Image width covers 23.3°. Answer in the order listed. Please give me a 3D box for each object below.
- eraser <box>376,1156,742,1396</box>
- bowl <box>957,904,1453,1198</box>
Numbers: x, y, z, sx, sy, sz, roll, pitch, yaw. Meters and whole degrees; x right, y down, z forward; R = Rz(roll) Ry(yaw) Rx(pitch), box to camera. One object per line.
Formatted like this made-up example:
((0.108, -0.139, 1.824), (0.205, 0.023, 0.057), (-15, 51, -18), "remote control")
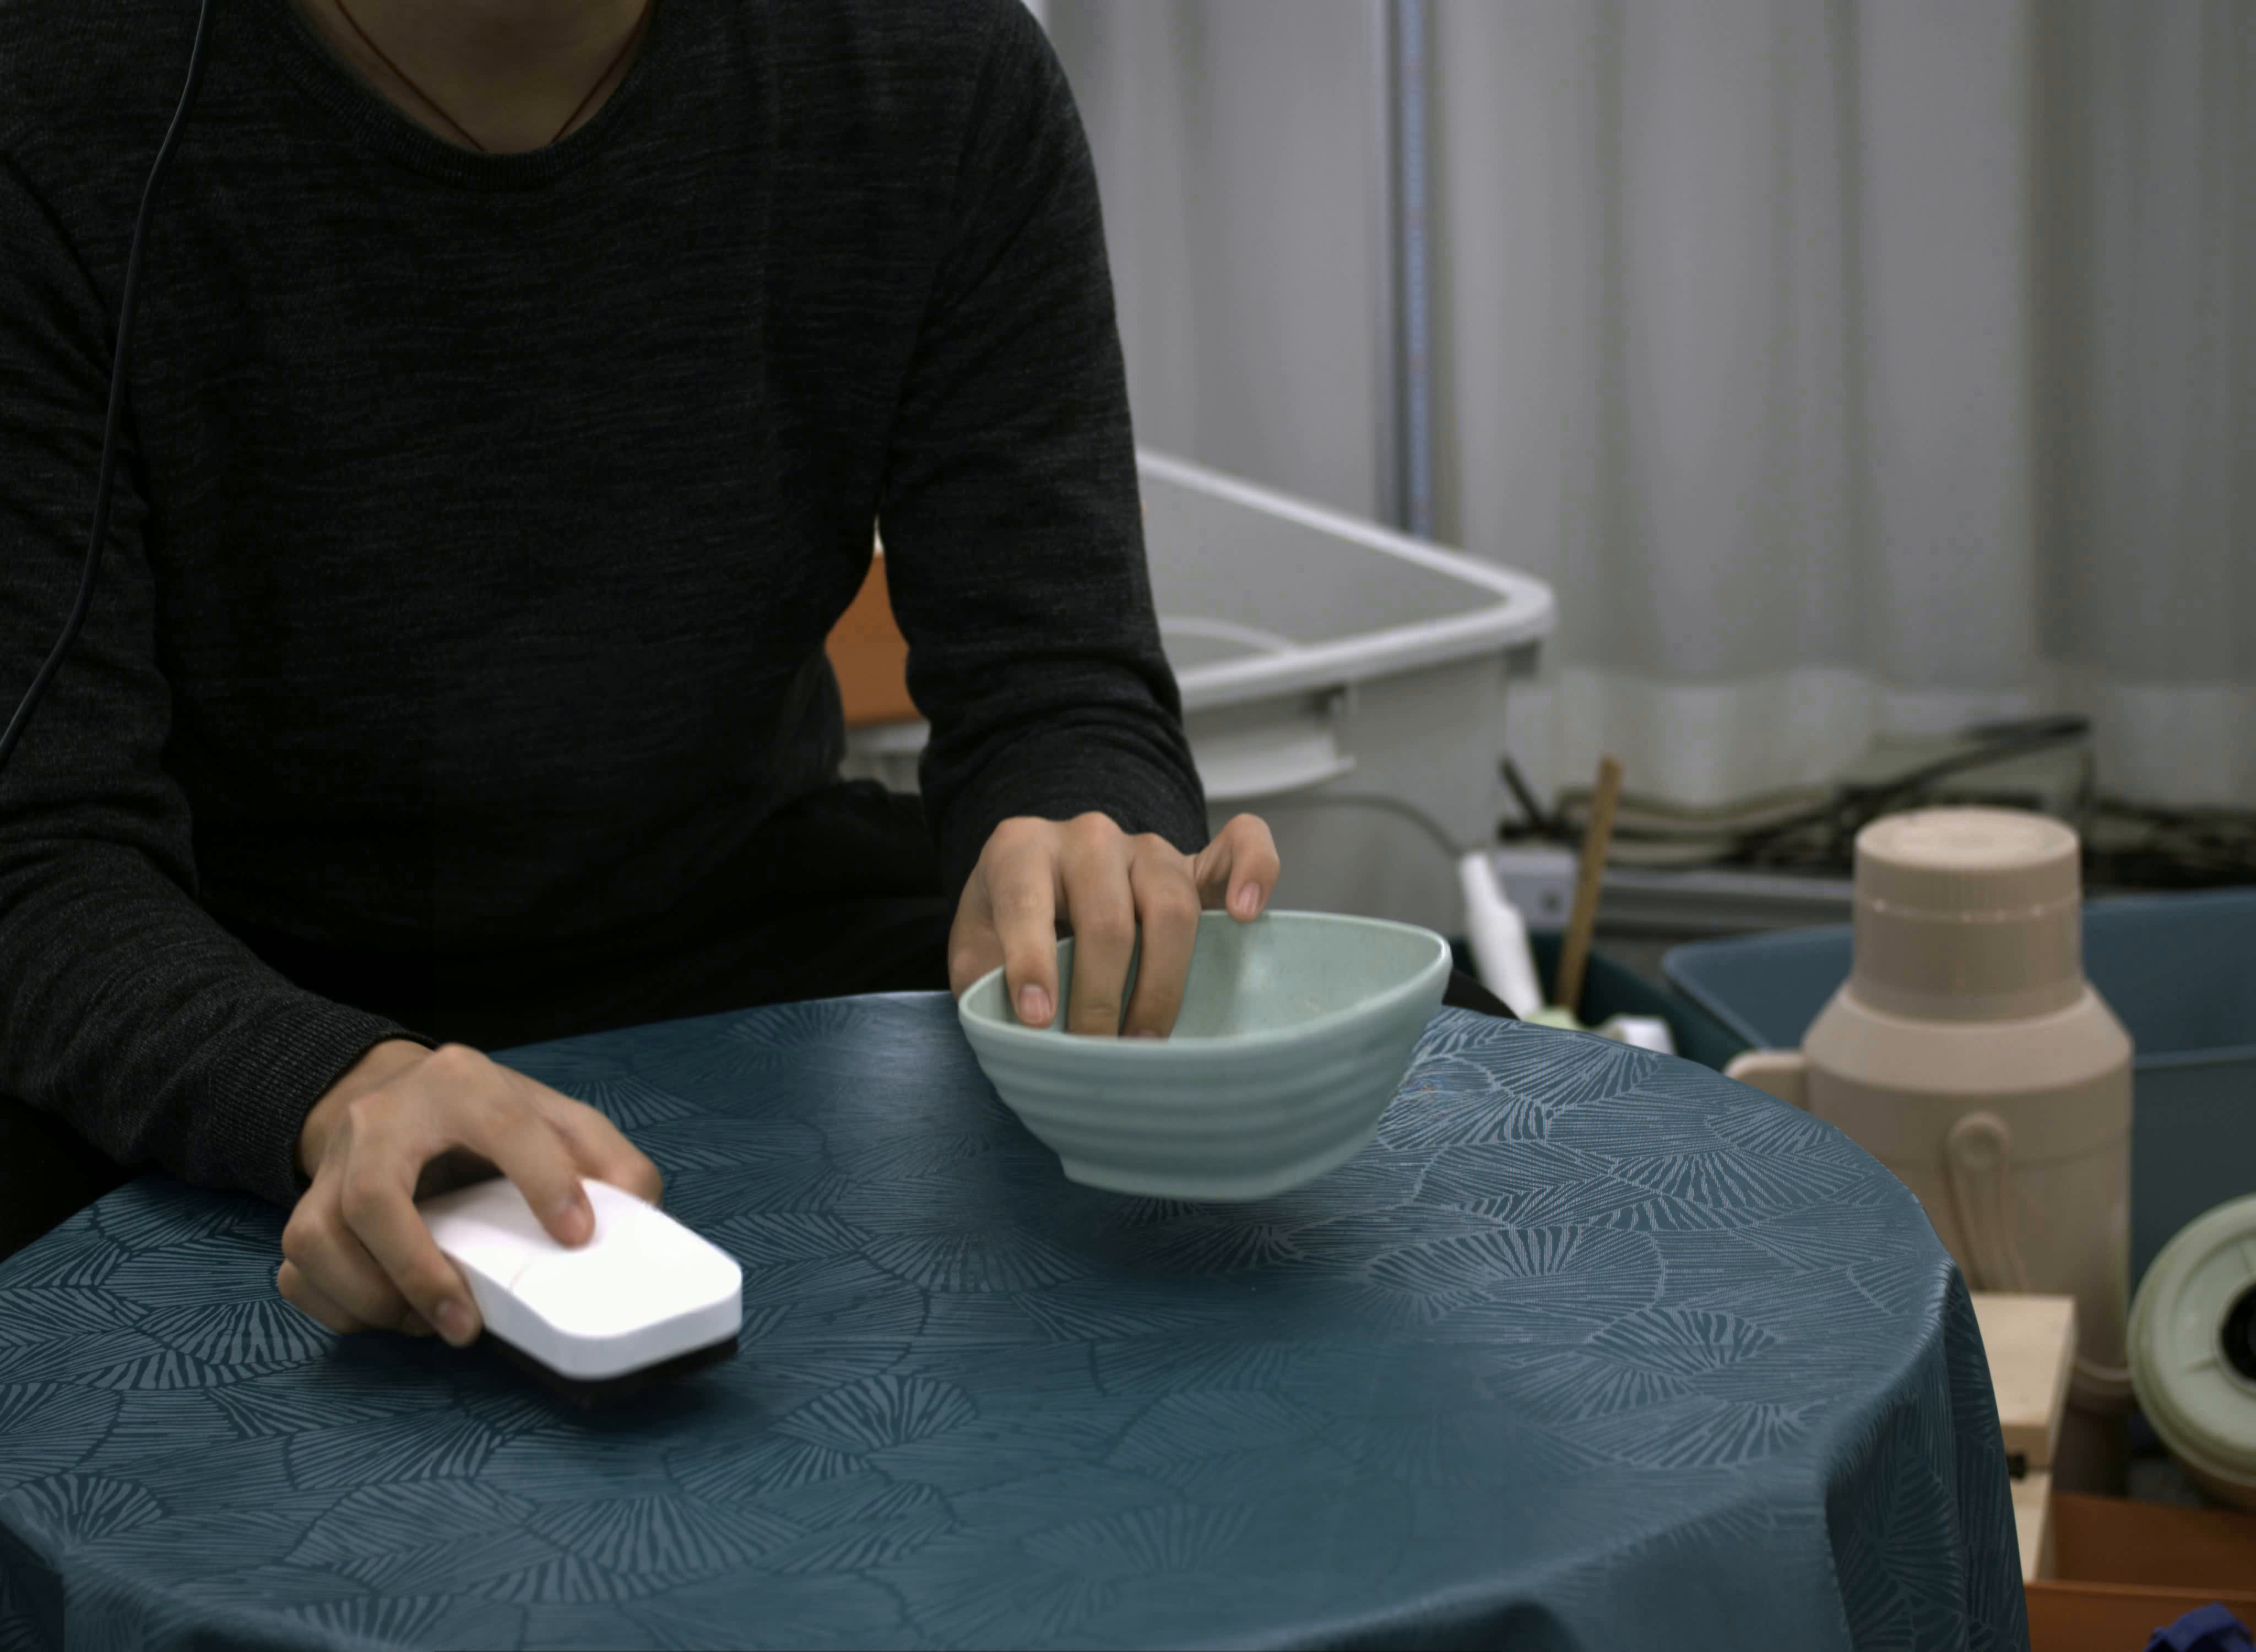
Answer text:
((-0.164, 0.126, 1.580), (0.063, 0.034, 0.132), (-15, 22, -31), "eraser")
((0.025, 0.071, 1.654), (0.151, 0.058, 0.152), (-4, 14, 1), "bowl")
